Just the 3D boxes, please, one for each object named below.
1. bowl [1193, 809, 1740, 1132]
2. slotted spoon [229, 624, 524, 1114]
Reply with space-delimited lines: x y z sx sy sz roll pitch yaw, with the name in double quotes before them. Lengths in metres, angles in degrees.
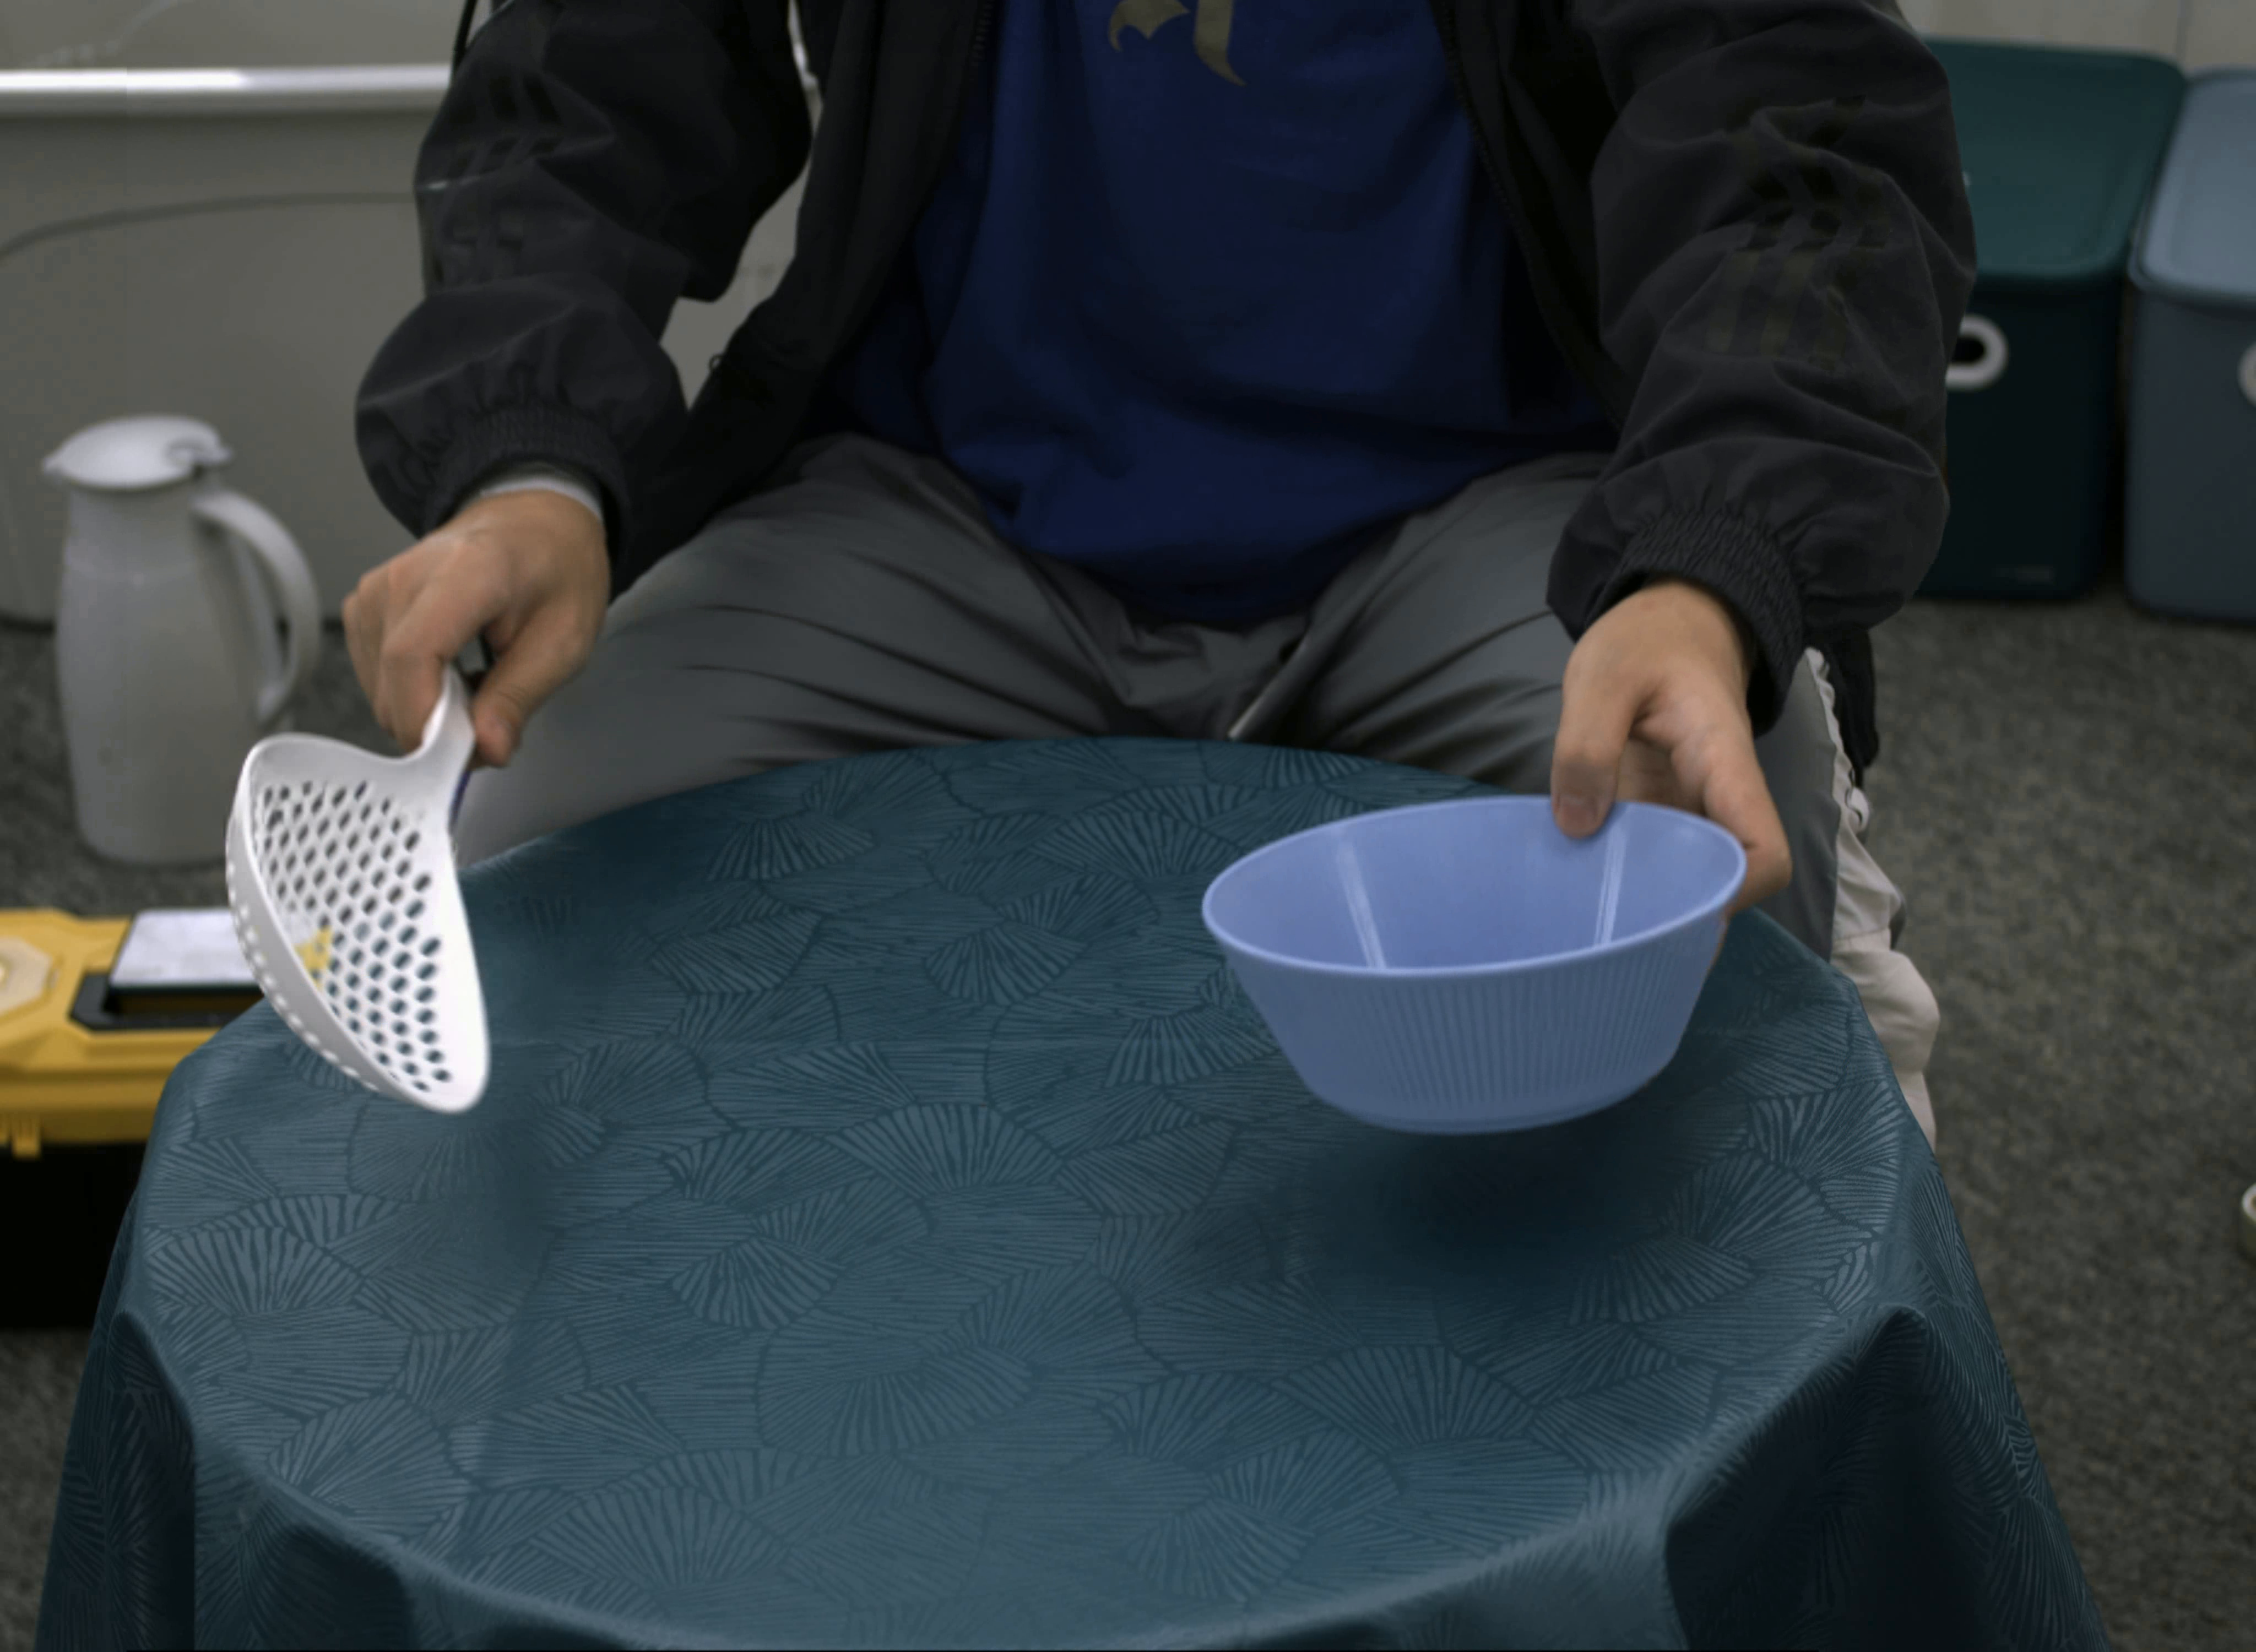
"bowl" 0.111 0.049 1.811 0.175 0.070 0.177 -5 15 2
"slotted spoon" -0.247 -0.002 1.911 0.050 0.136 0.353 -34 17 18
